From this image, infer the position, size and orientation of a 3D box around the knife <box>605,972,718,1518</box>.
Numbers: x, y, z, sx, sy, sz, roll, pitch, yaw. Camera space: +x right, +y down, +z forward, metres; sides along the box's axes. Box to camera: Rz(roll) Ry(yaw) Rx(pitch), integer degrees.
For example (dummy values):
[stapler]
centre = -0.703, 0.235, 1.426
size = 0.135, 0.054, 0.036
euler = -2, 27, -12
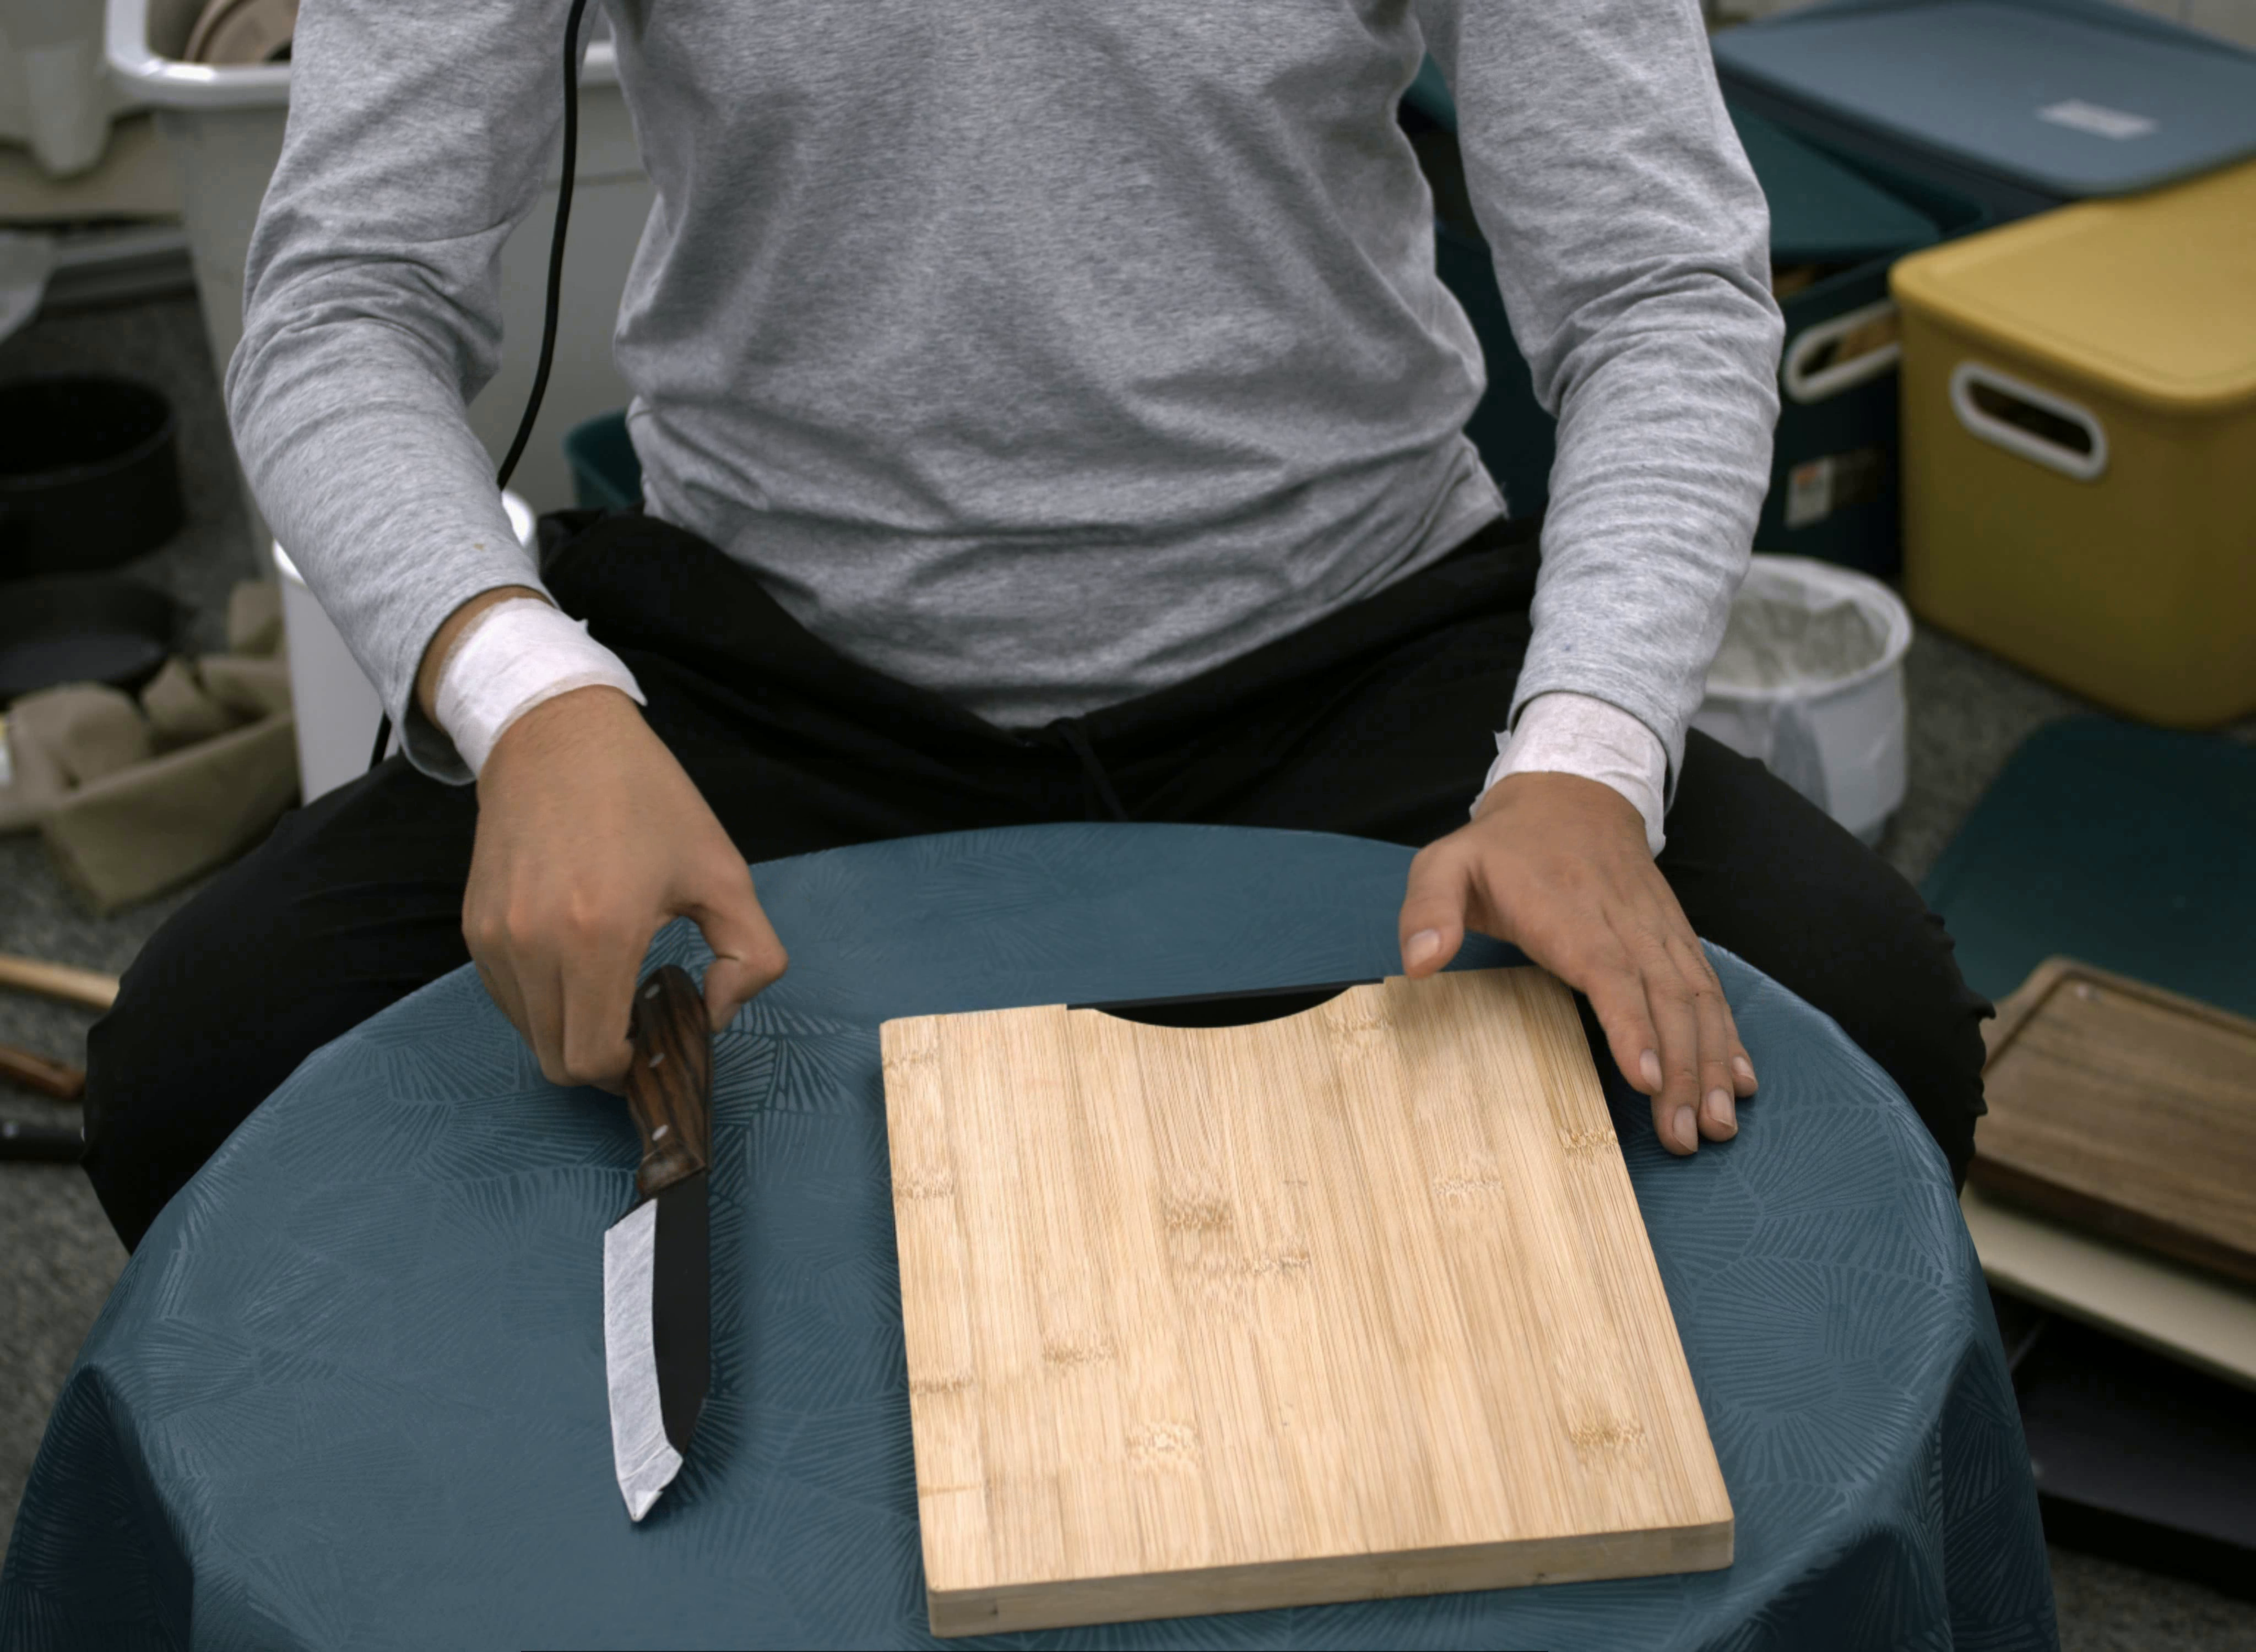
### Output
[knife]
centre = -0.151, 0.133, 1.820
size = 0.050, 0.020, 0.294
euler = -36, 26, 17

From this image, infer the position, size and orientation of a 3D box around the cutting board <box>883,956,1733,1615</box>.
[cutting board]
centre = 0.047, 0.141, 1.802
size = 0.250, 0.023, 0.353
euler = -4, 27, -4
